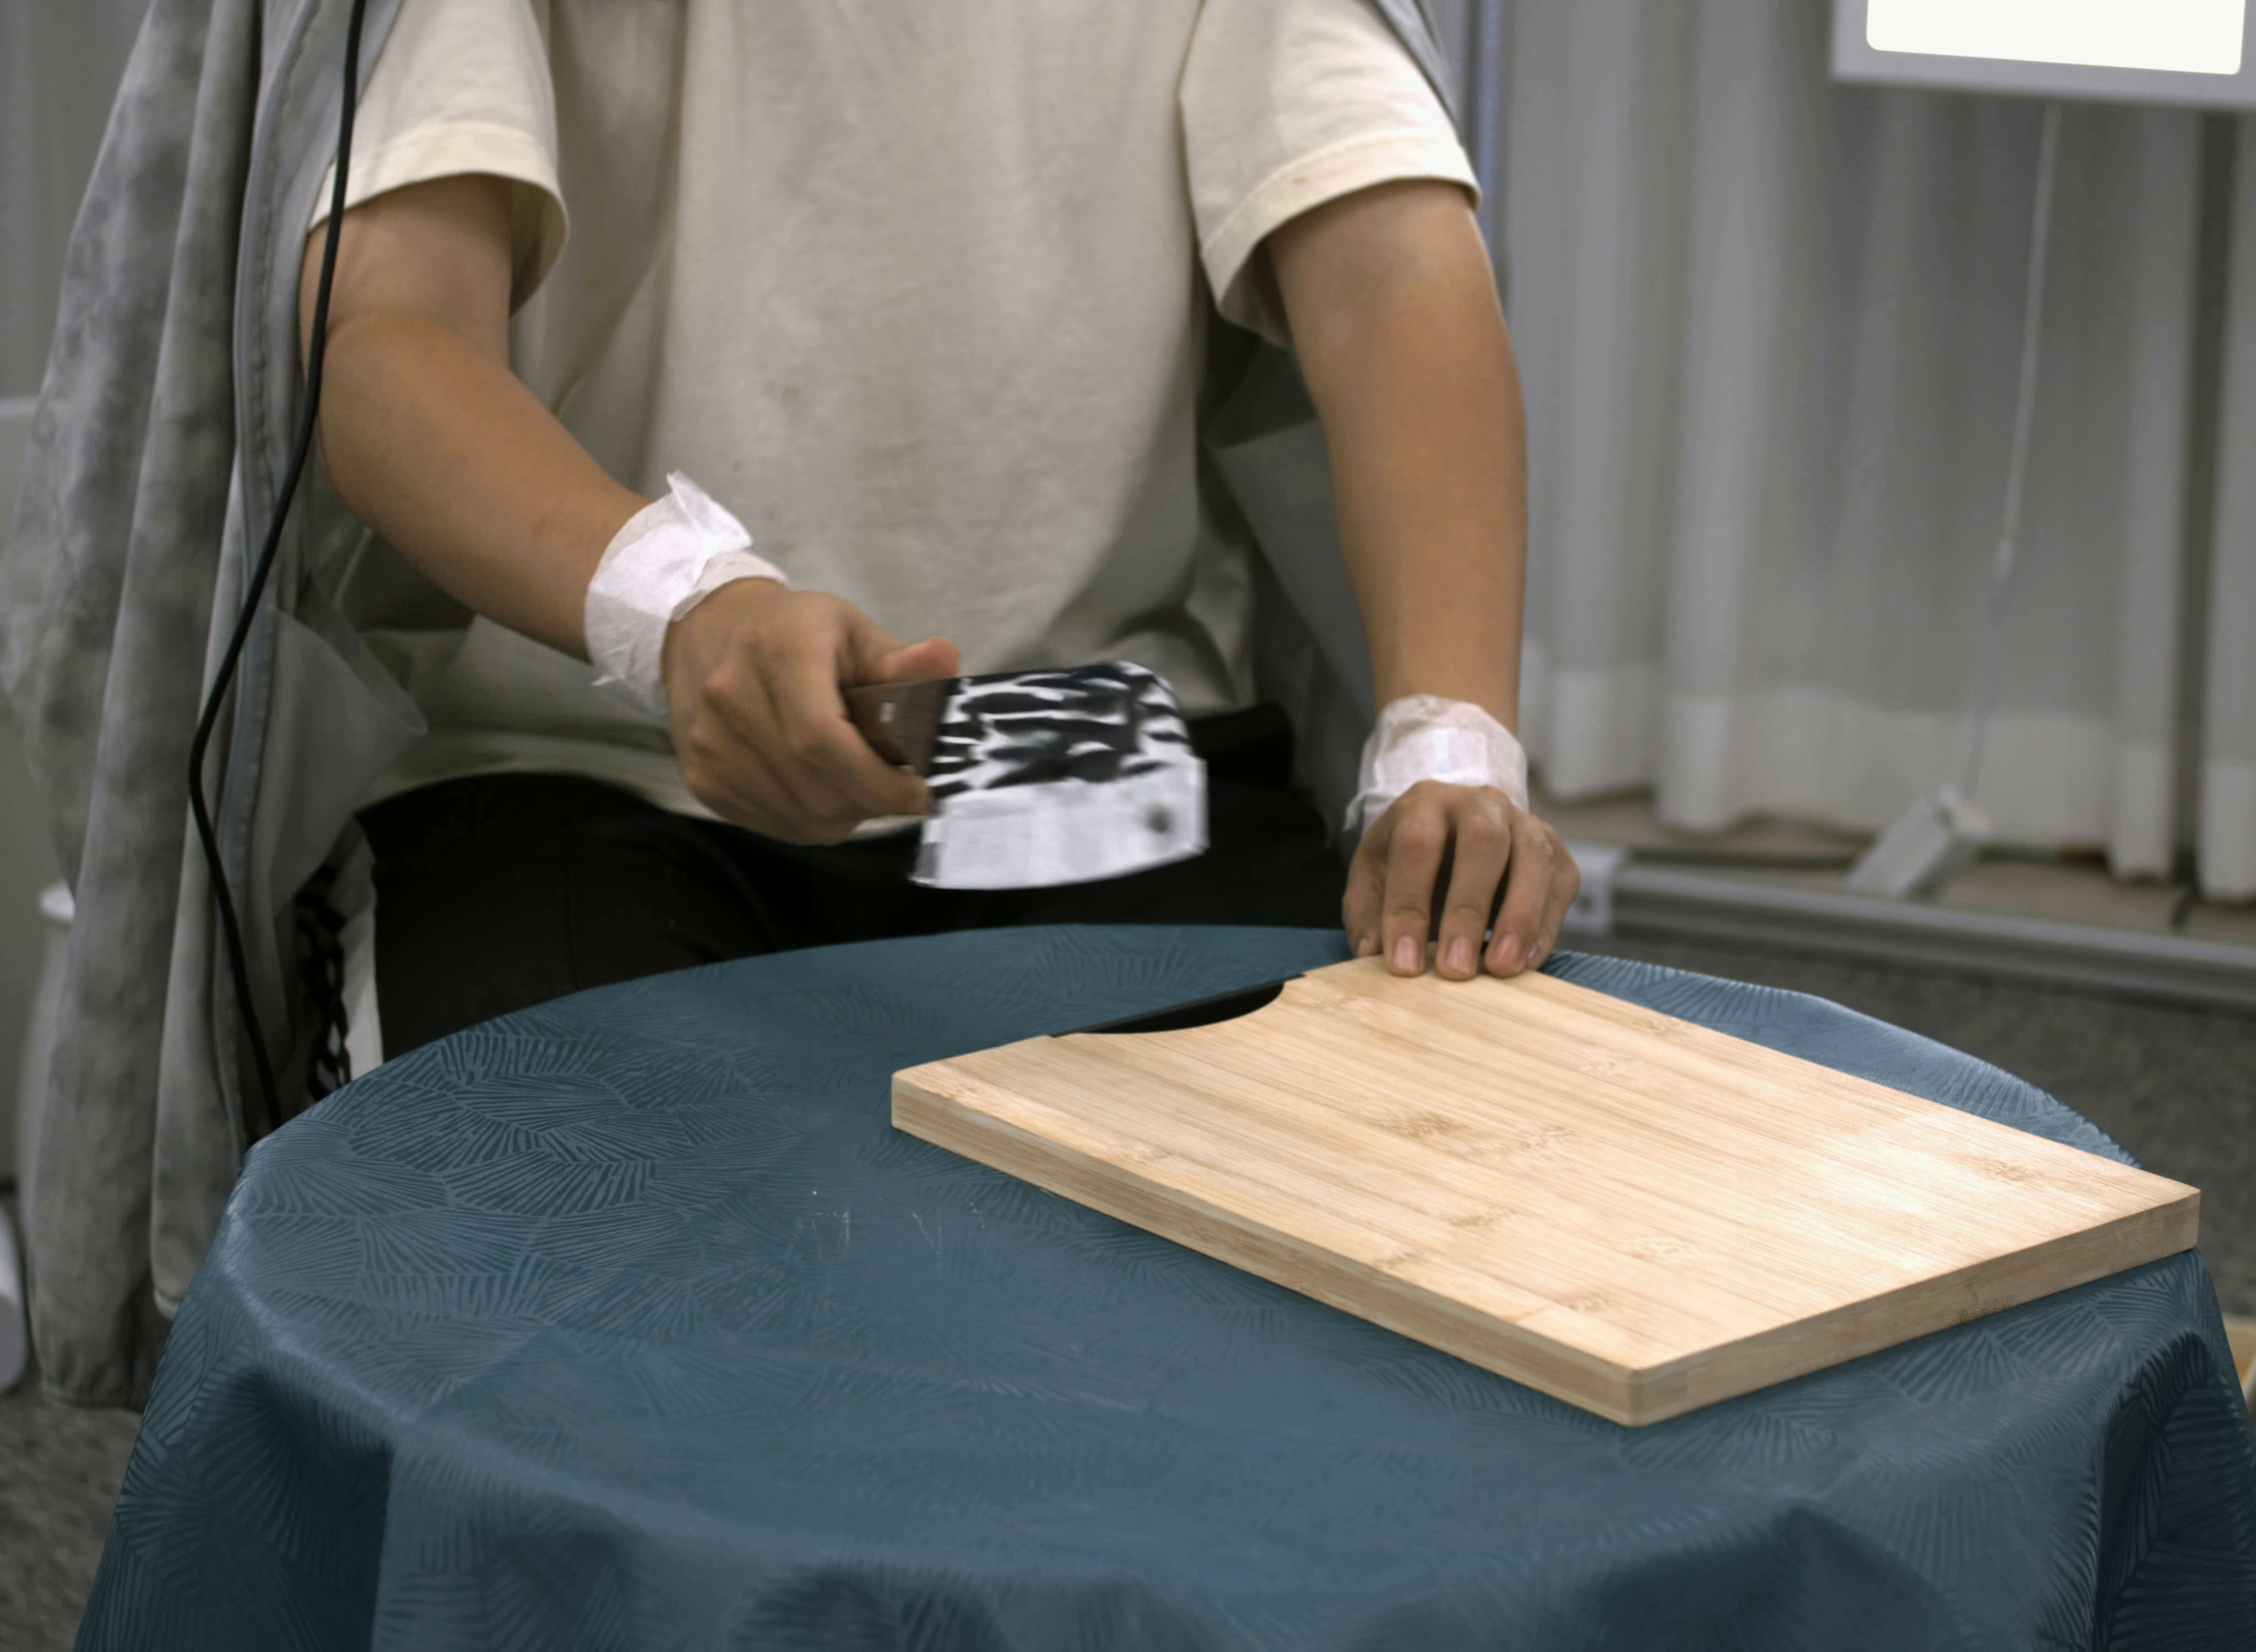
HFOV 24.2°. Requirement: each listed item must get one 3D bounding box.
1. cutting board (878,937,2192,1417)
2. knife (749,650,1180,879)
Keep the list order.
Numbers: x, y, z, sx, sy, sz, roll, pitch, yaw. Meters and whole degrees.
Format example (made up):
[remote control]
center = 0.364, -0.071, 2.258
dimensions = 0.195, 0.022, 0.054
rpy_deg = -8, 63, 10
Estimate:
[cutting board]
center = 0.120, 0.102, 1.638
dimensions = 0.252, 0.024, 0.344
rpy_deg = -12, 20, -40
[knife]
center = -0.052, -0.017, 1.614
dimensions = 0.024, 0.068, 0.297
rpy_deg = 15, -8, -27
